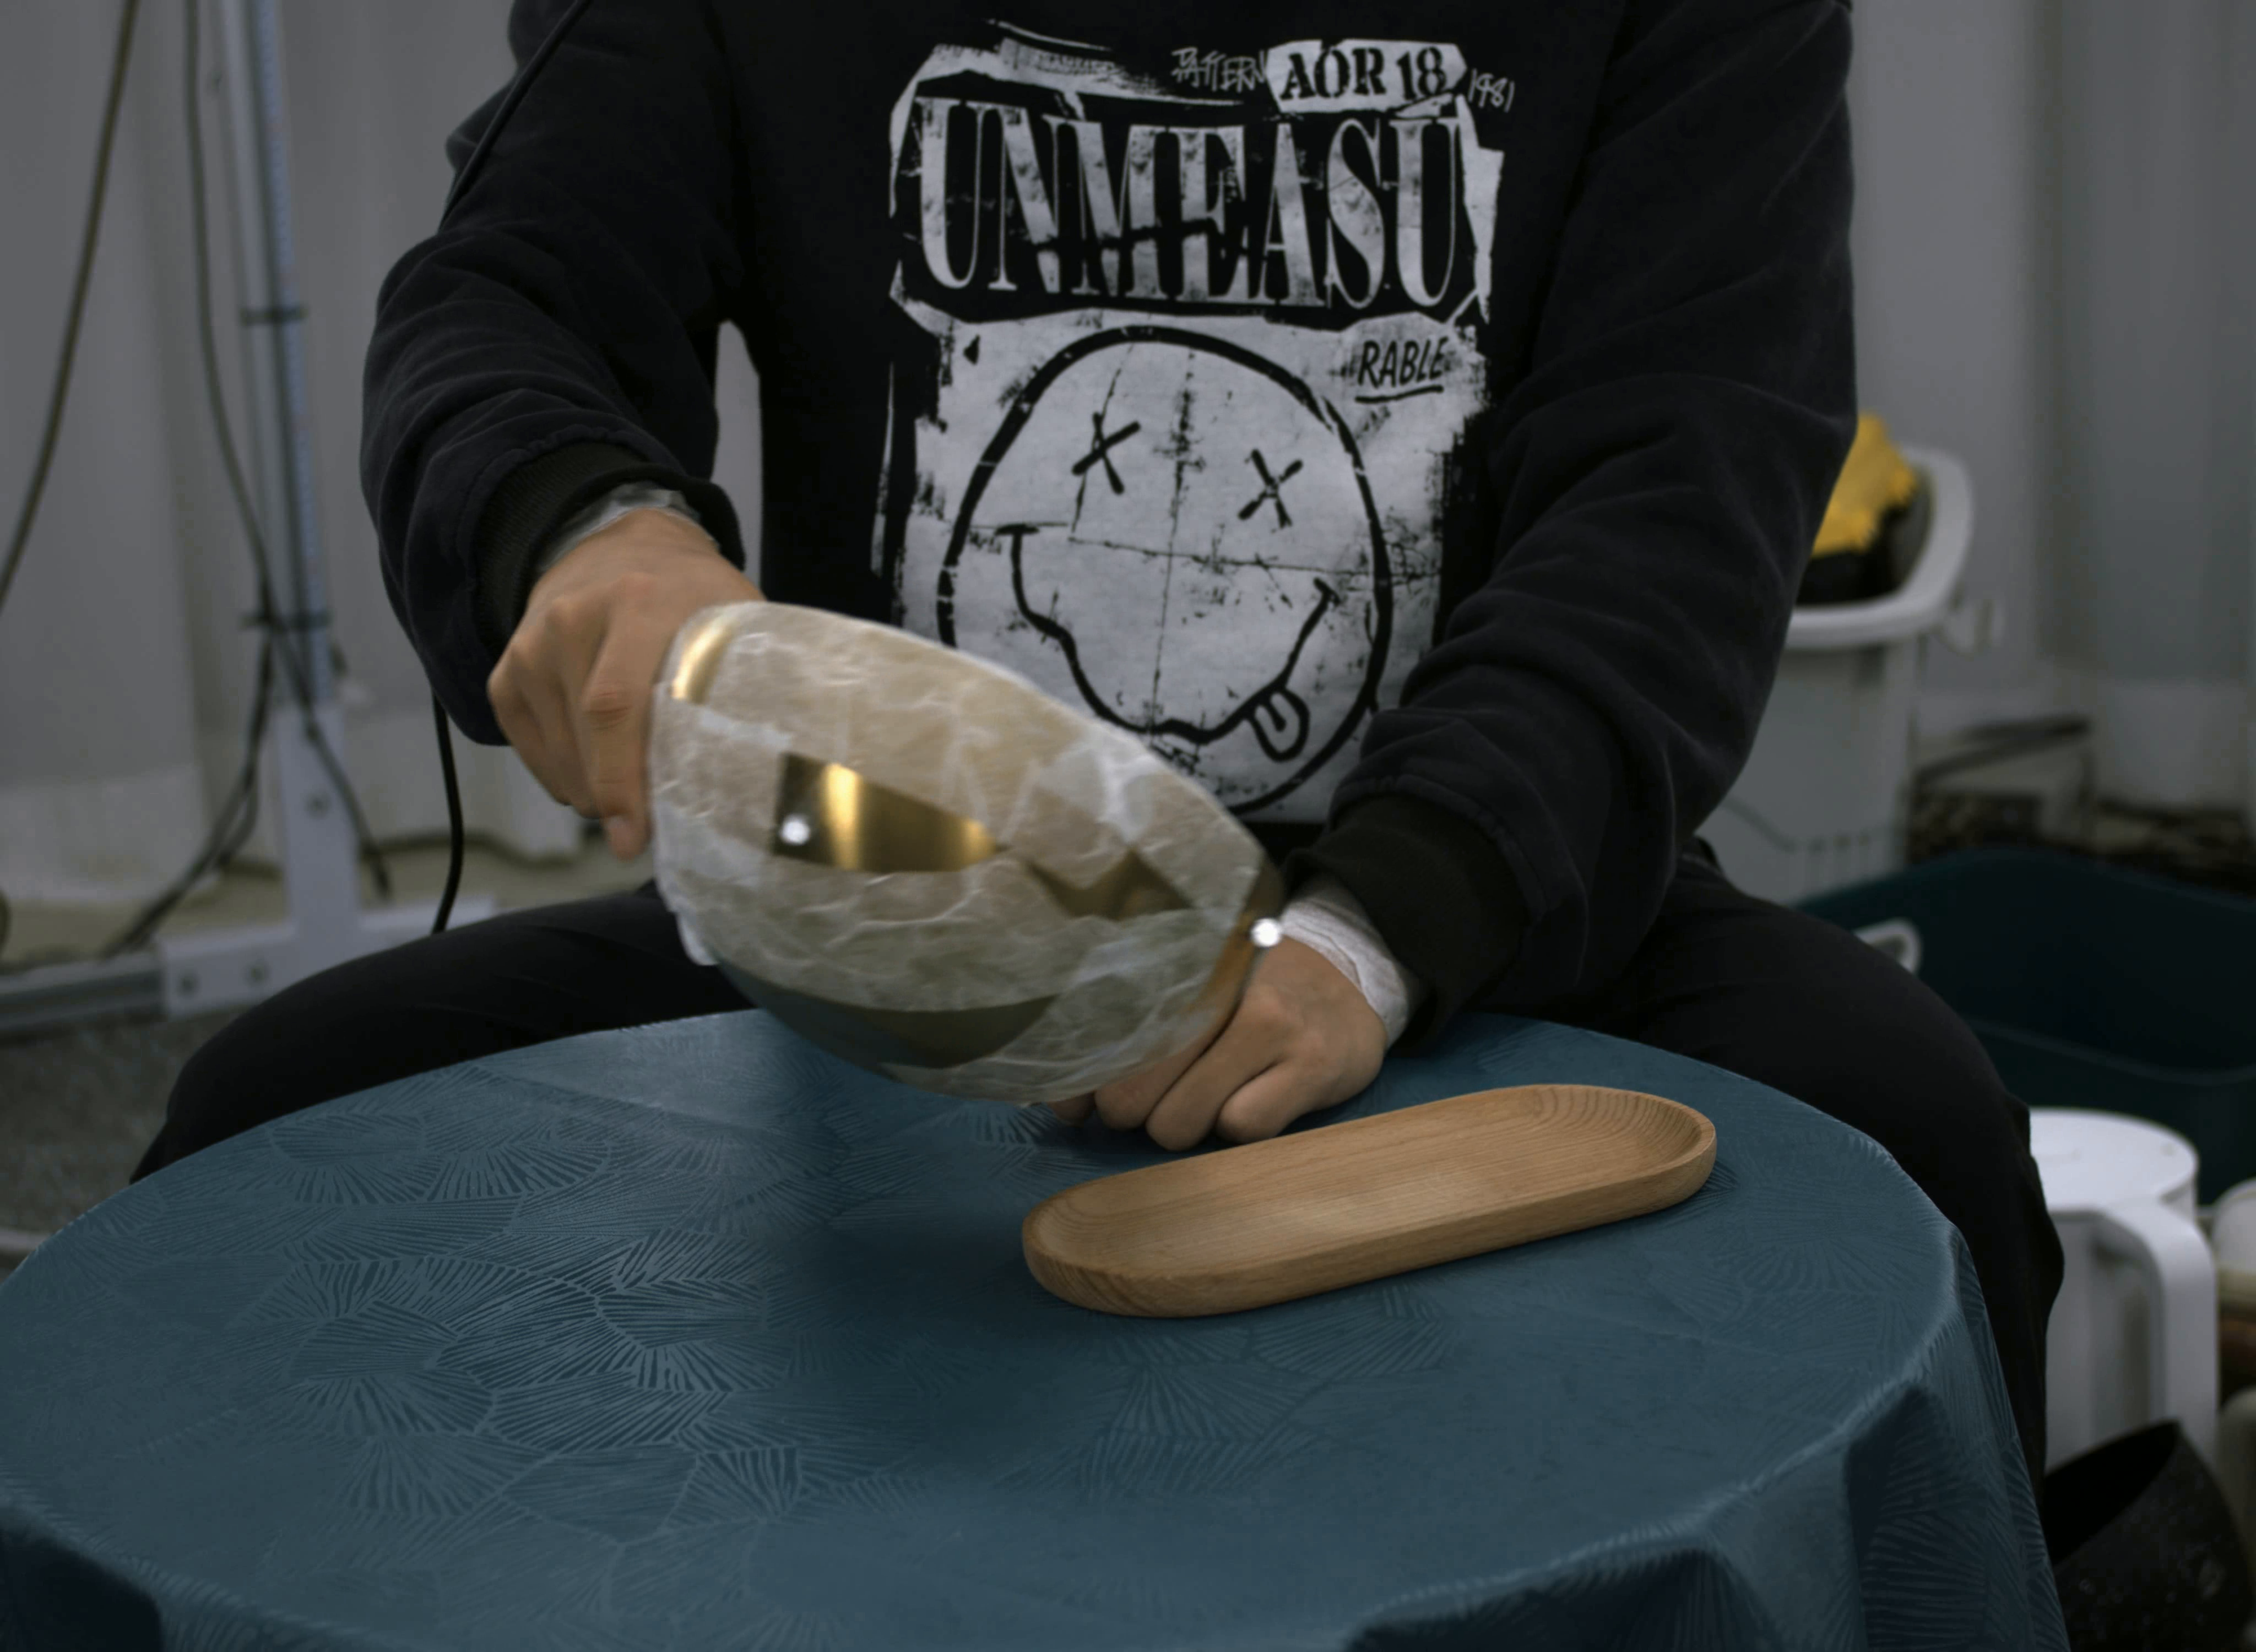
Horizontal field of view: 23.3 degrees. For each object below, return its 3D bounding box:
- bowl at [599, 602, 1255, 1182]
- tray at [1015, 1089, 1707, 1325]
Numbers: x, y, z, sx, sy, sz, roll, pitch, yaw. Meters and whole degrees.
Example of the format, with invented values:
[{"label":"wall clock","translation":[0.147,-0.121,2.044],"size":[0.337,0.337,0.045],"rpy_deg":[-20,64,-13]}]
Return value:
[{"label":"bowl","translation":[-0.074,0.040,1.606],"size":[0.215,0.212,0.095],"rpy_deg":[6,49,30]},{"label":"tray","translation":[0.073,0.116,1.668],"size":[0.230,0.020,0.102],"rpy_deg":[-13,16,-28]}]
